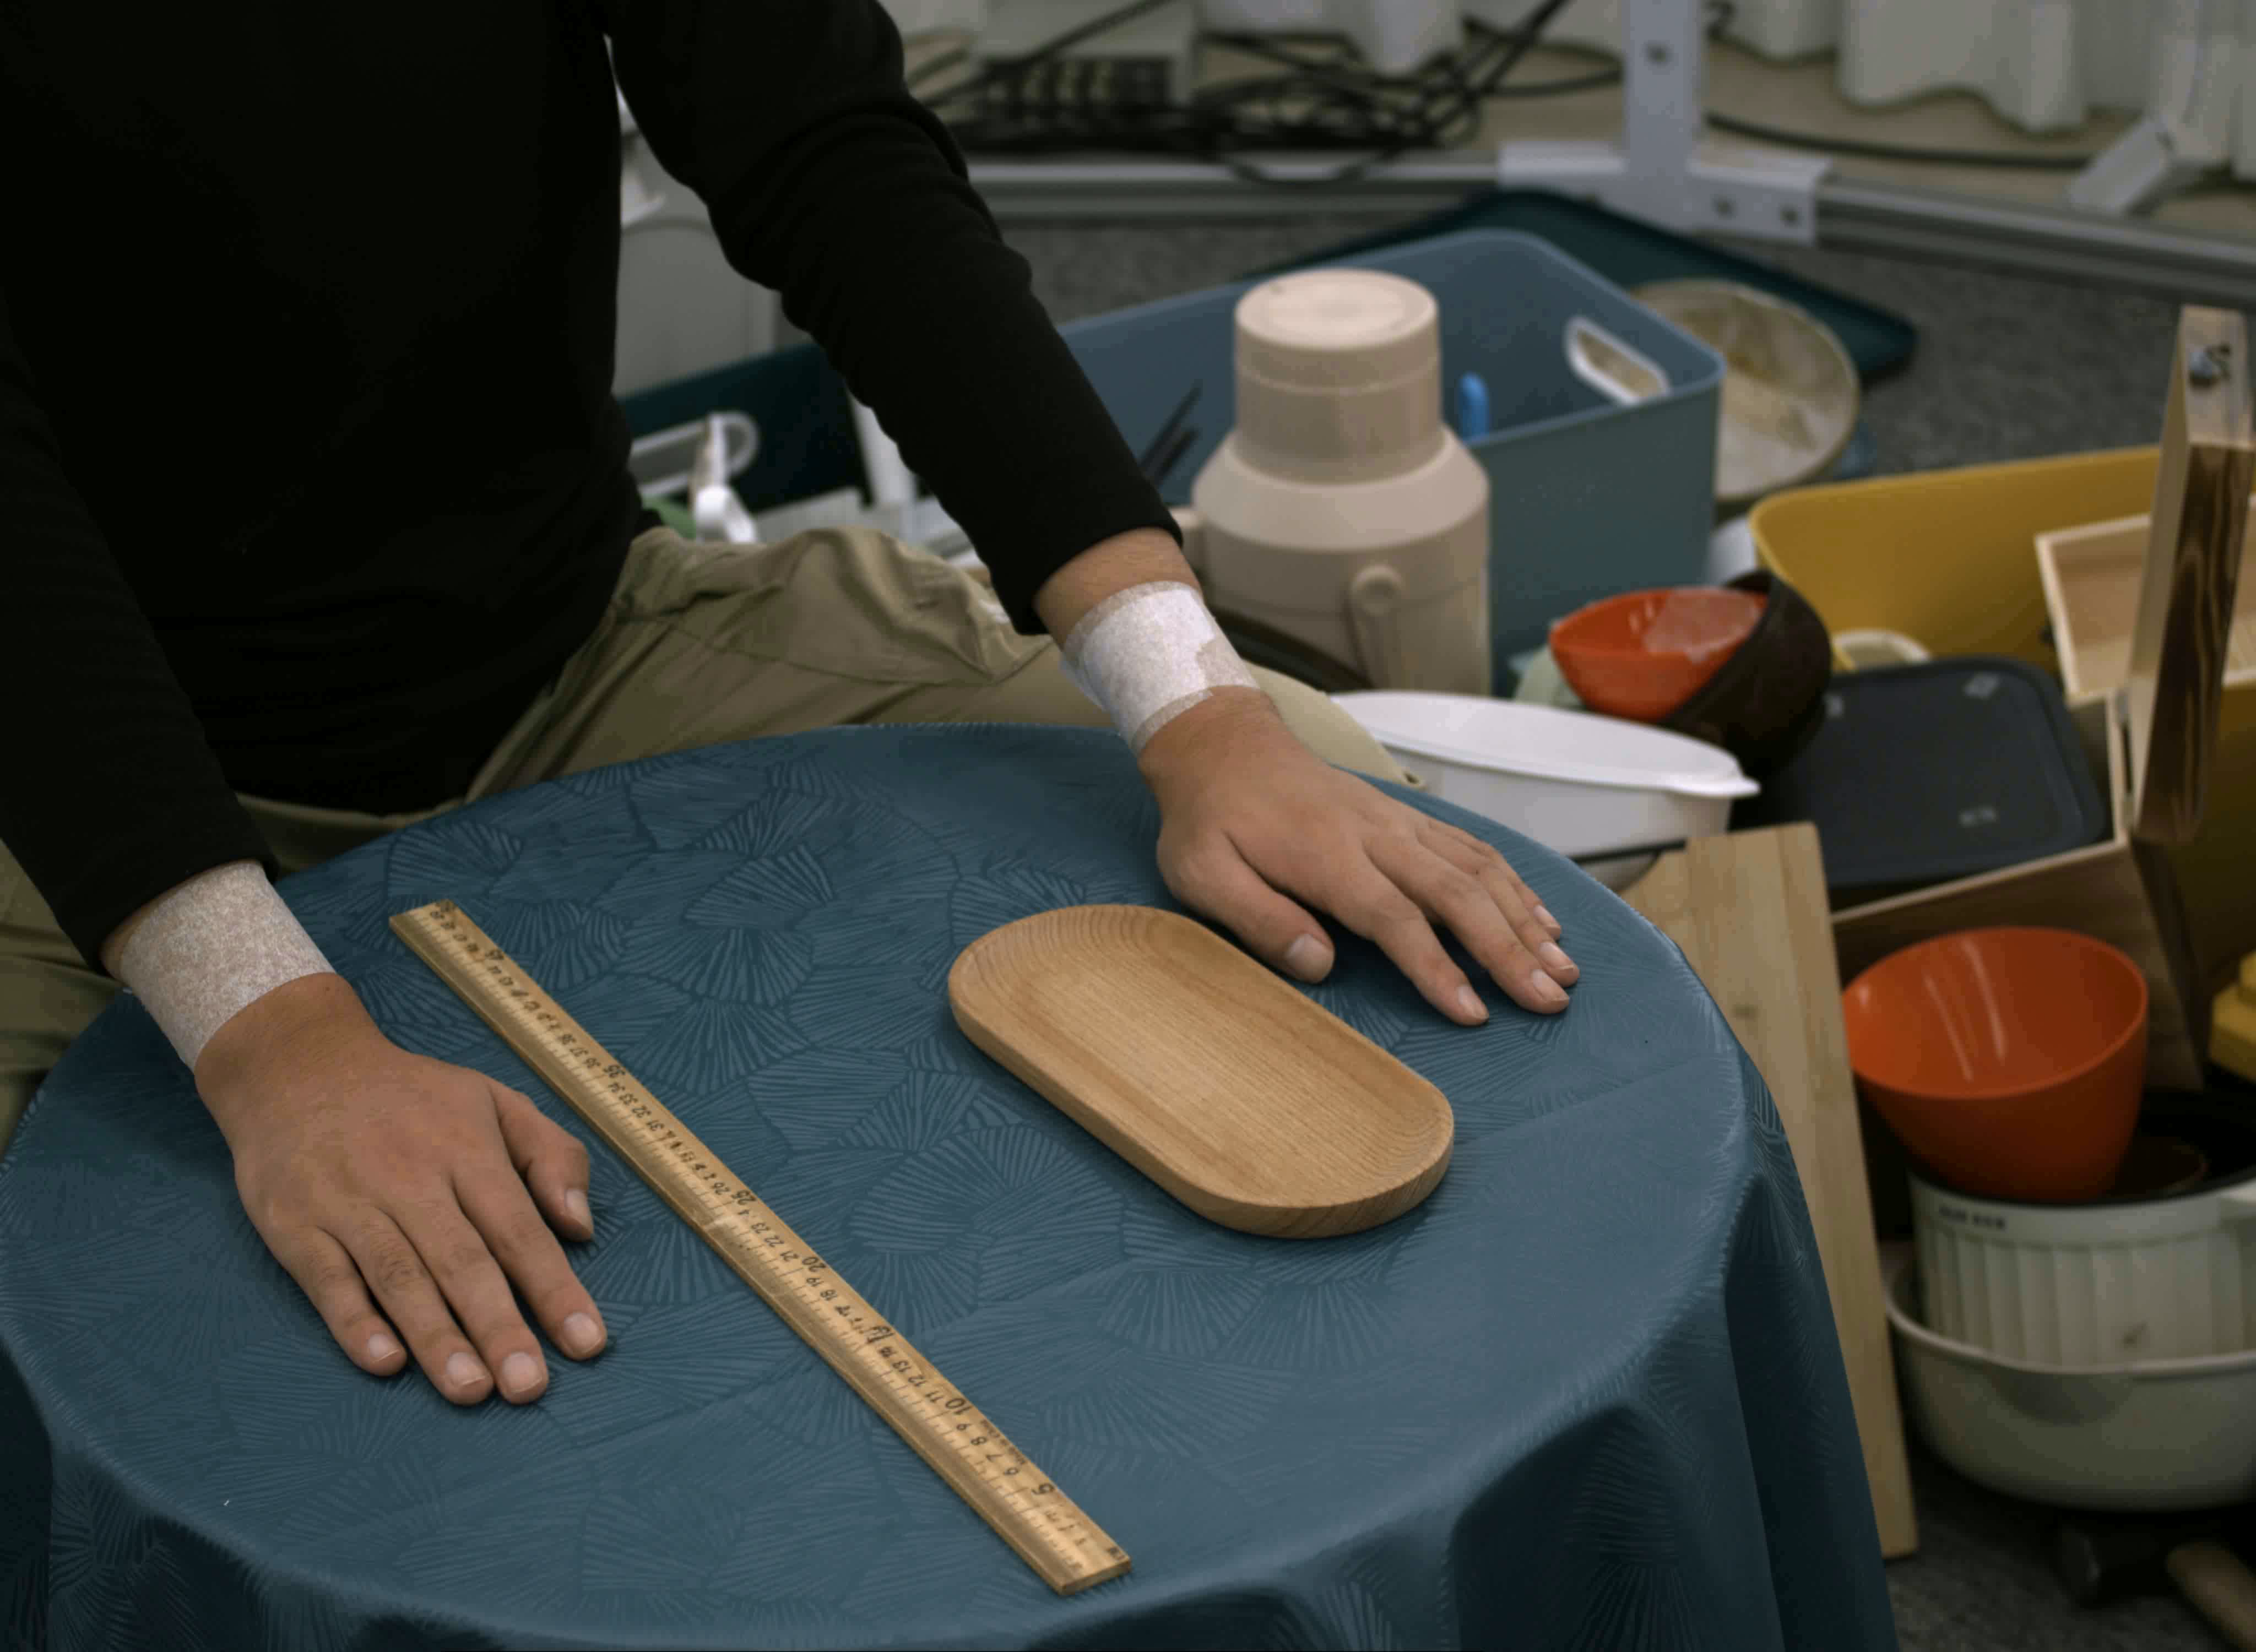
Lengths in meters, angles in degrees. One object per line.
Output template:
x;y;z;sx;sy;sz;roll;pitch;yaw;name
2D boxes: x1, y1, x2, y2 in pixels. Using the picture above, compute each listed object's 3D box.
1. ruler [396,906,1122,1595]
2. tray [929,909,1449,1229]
-0.133;0.128;1.857;0.027;0.006;0.502;-15;30;-25;ruler
0.019;0.082;1.919;0.102;0.020;0.231;-18;29;-31;tray
